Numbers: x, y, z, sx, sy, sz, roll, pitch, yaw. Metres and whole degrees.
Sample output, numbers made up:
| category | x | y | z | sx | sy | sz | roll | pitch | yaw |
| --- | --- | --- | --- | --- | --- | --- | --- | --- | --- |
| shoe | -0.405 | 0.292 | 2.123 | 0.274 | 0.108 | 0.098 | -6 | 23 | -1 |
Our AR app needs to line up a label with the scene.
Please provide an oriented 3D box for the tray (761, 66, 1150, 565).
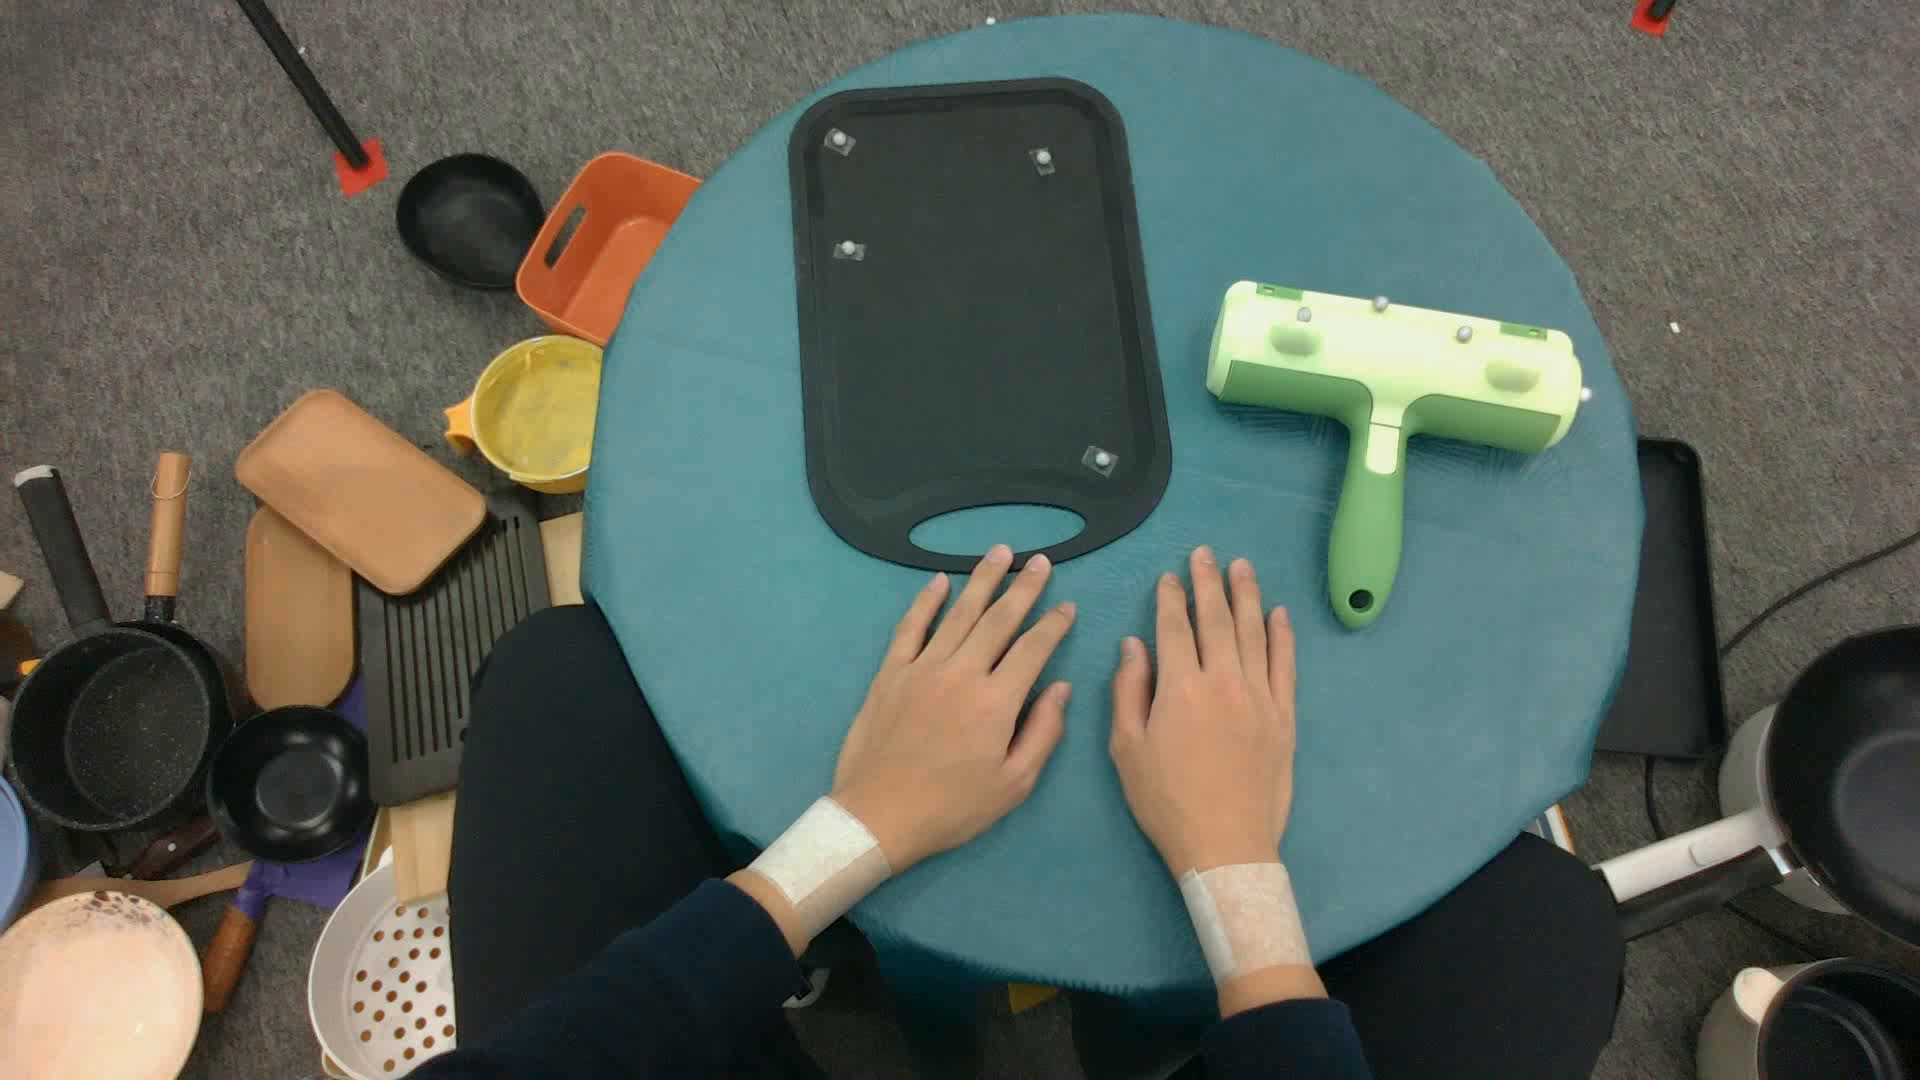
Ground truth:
| category | x | y | z | sx | sy | sz | roll | pitch | yaw |
| --- | --- | --- | --- | --- | --- | --- | --- | --- | --- |
| tray | -0.006 | -0.141 | 0.811 | 0.211 | 0.010 | 0.326 | -5 | 71 | -3 |

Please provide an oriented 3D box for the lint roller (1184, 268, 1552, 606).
| category | x | y | z | sx | sy | sz | roll | pitch | yaw |
| --- | --- | --- | --- | --- | --- | --- | --- | --- | --- |
| lint roller | 0.219 | -0.060 | 0.746 | 0.198 | 0.082 | 0.184 | 8 | 64 | 3 |
